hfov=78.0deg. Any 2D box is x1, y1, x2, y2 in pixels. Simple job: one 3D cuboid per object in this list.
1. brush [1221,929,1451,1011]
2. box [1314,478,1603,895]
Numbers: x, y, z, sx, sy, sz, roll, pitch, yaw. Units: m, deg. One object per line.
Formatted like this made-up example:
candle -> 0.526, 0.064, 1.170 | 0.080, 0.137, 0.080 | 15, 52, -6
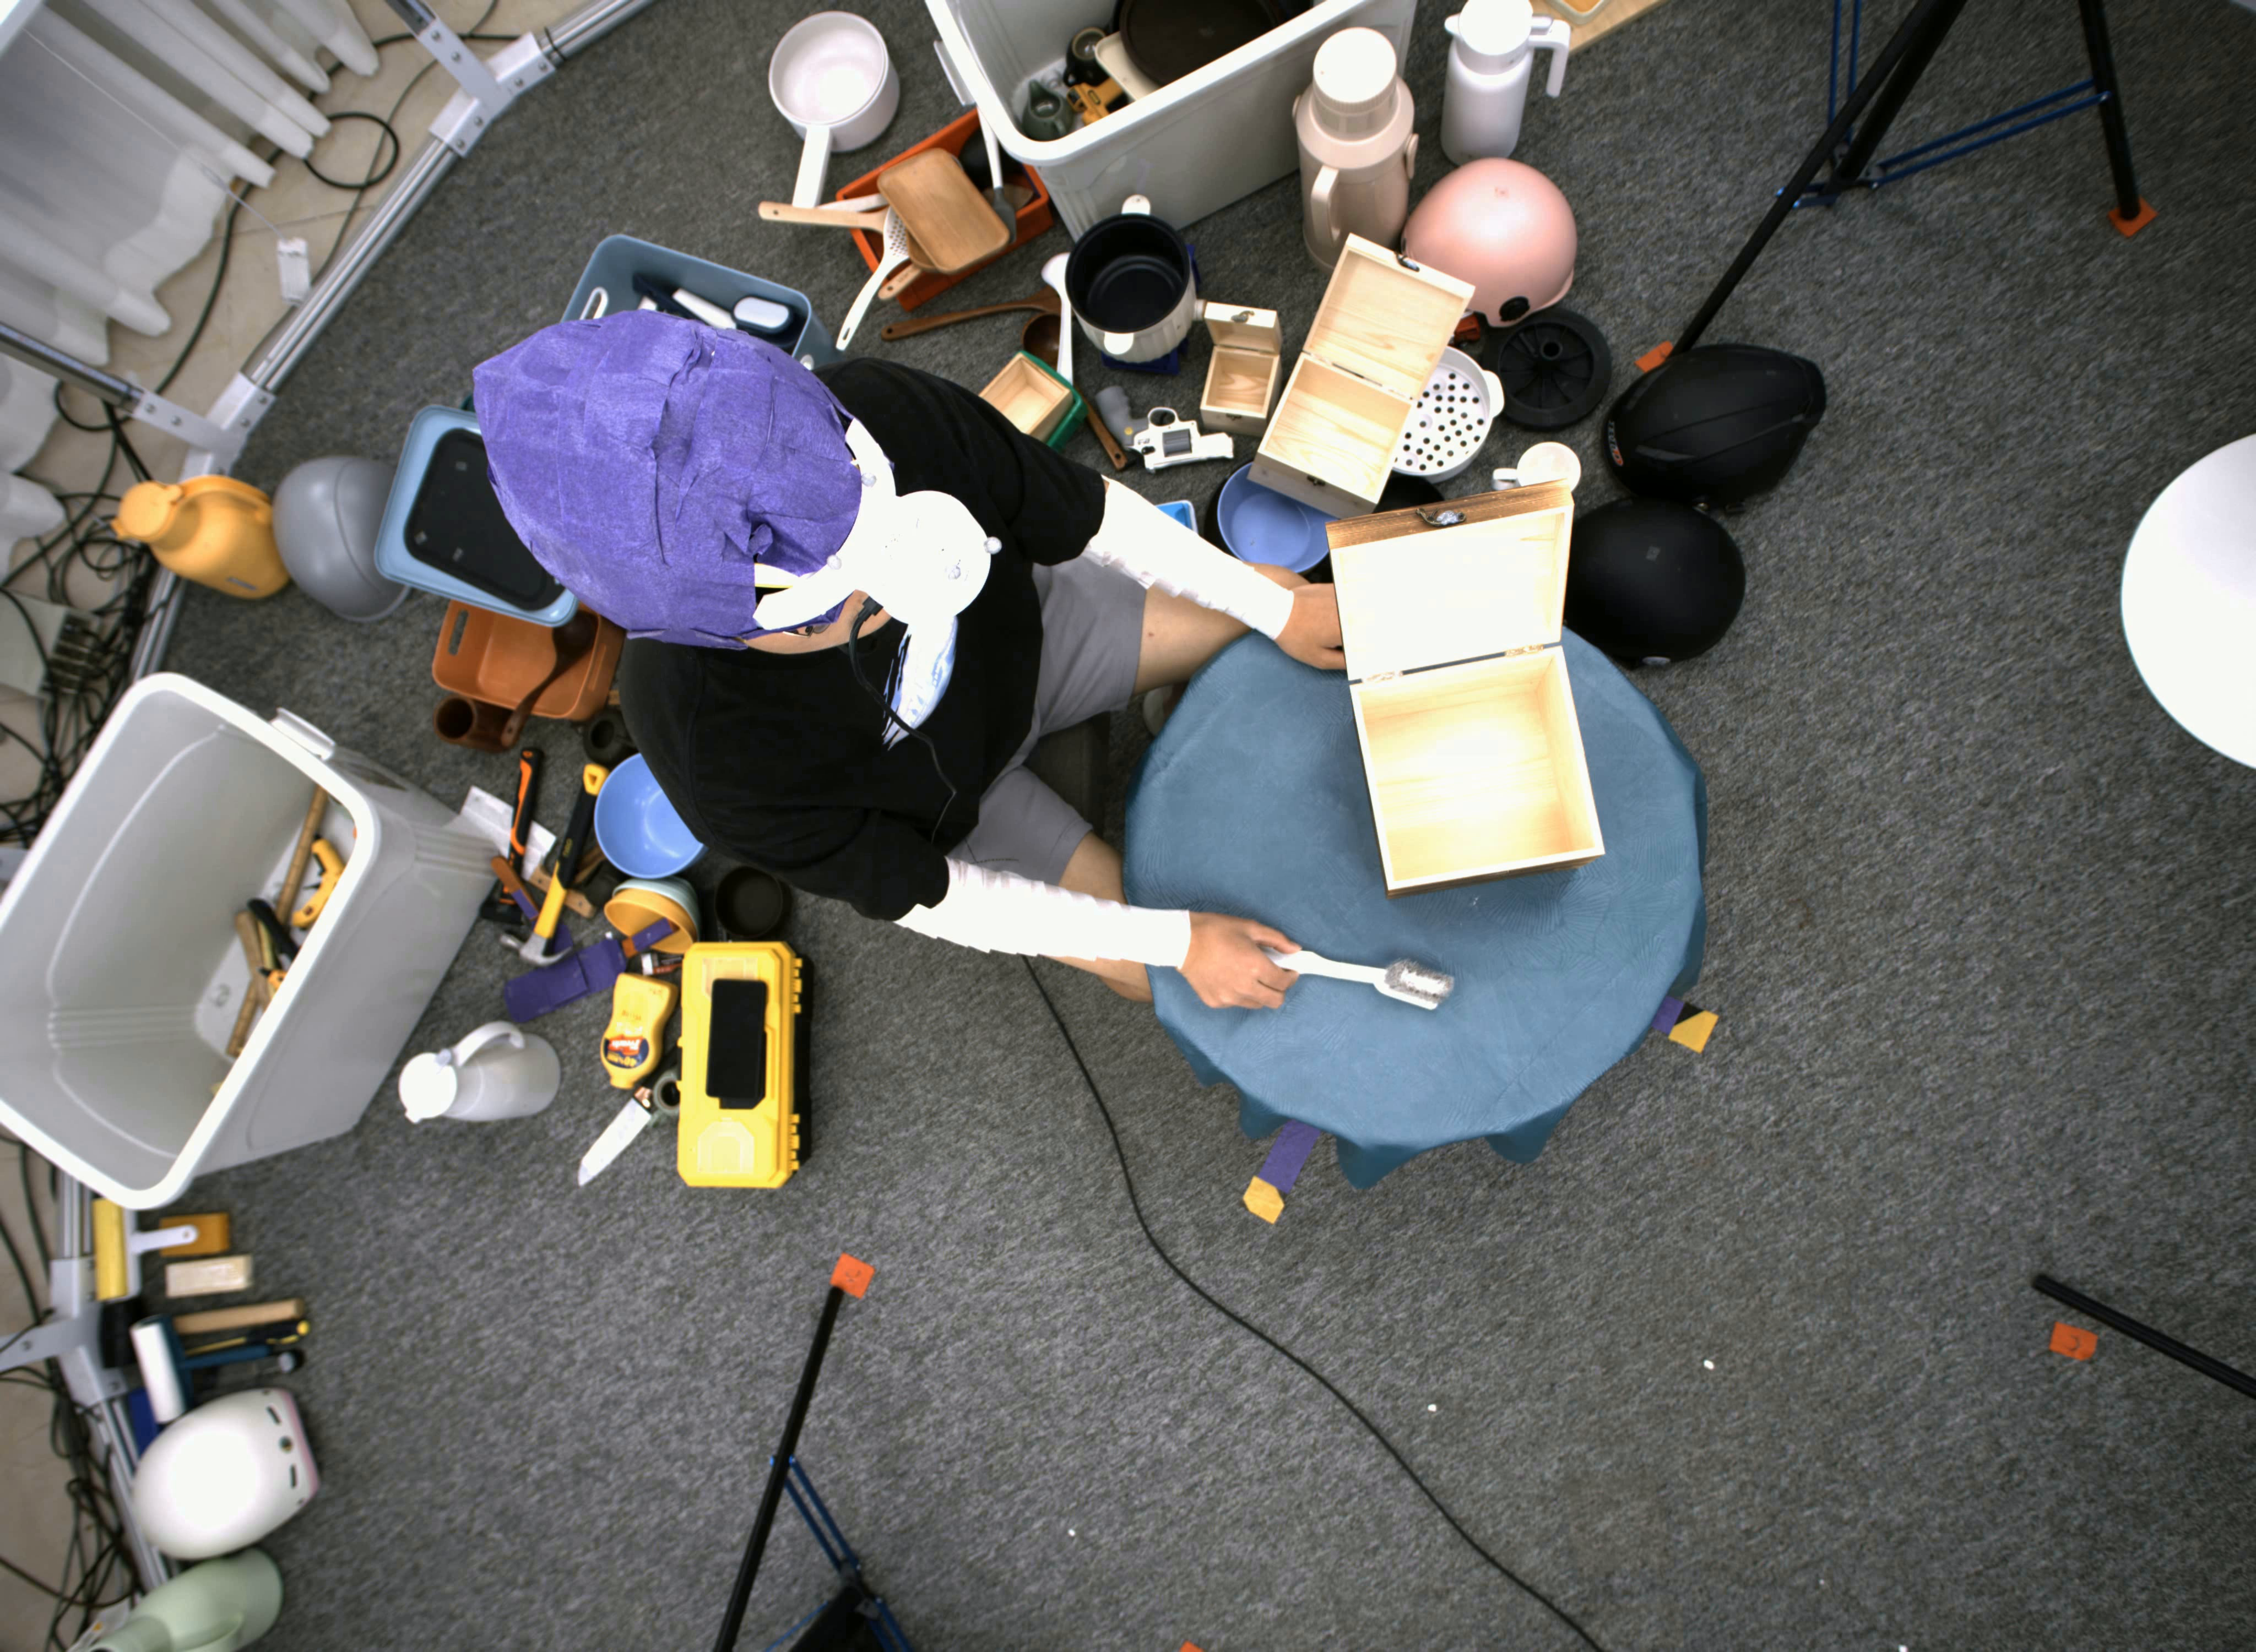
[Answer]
brush -> 0.214, 0.142, 1.439 | 0.244, 0.051, 0.034 | 15, 74, 11
box -> 0.312, -0.107, 1.275 | 0.210, 0.375, 0.320 | -10, 84, 10
